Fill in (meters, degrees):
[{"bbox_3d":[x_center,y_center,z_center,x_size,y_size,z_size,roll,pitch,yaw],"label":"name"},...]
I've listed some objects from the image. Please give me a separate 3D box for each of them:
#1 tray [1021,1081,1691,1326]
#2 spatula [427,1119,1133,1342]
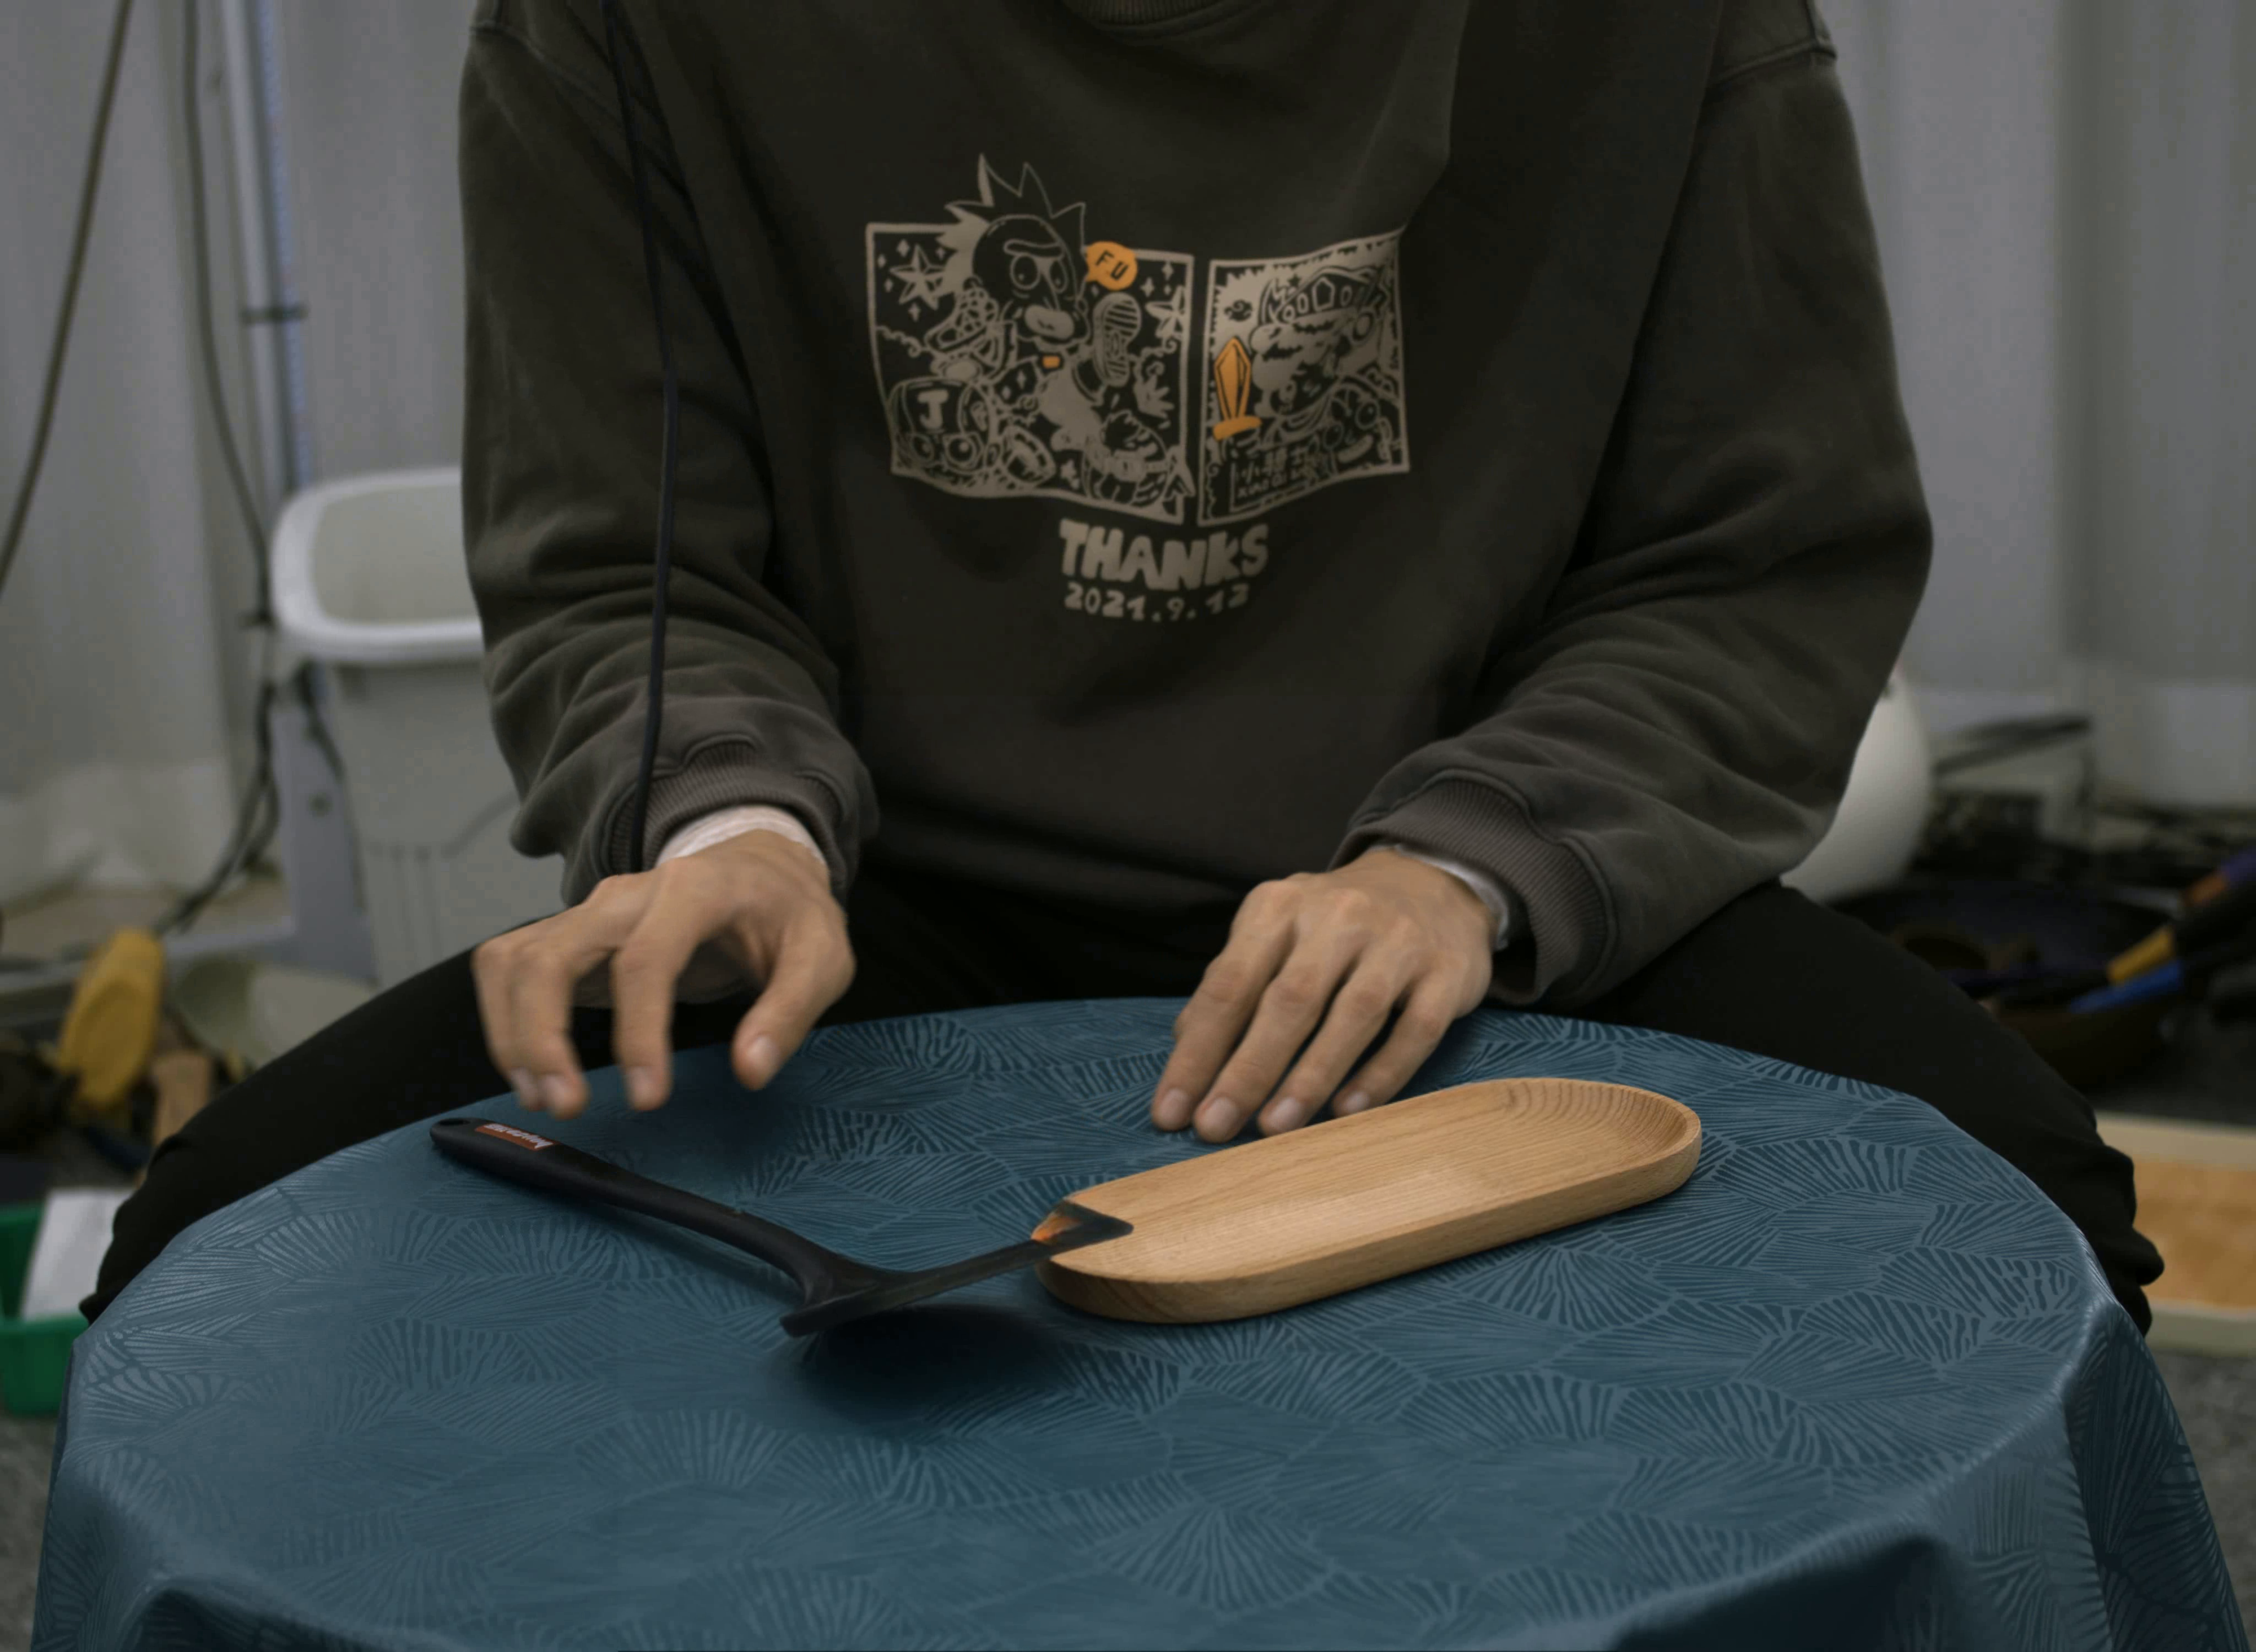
[{"bbox_3d":[0.072,0.115,1.676,0.230,0.020,0.102,-14,18,-32],"label":"tray"},{"bbox_3d":[-0.129,0.115,1.676,0.099,0.040,0.328,-12,18,-36],"label":"spatula"}]
